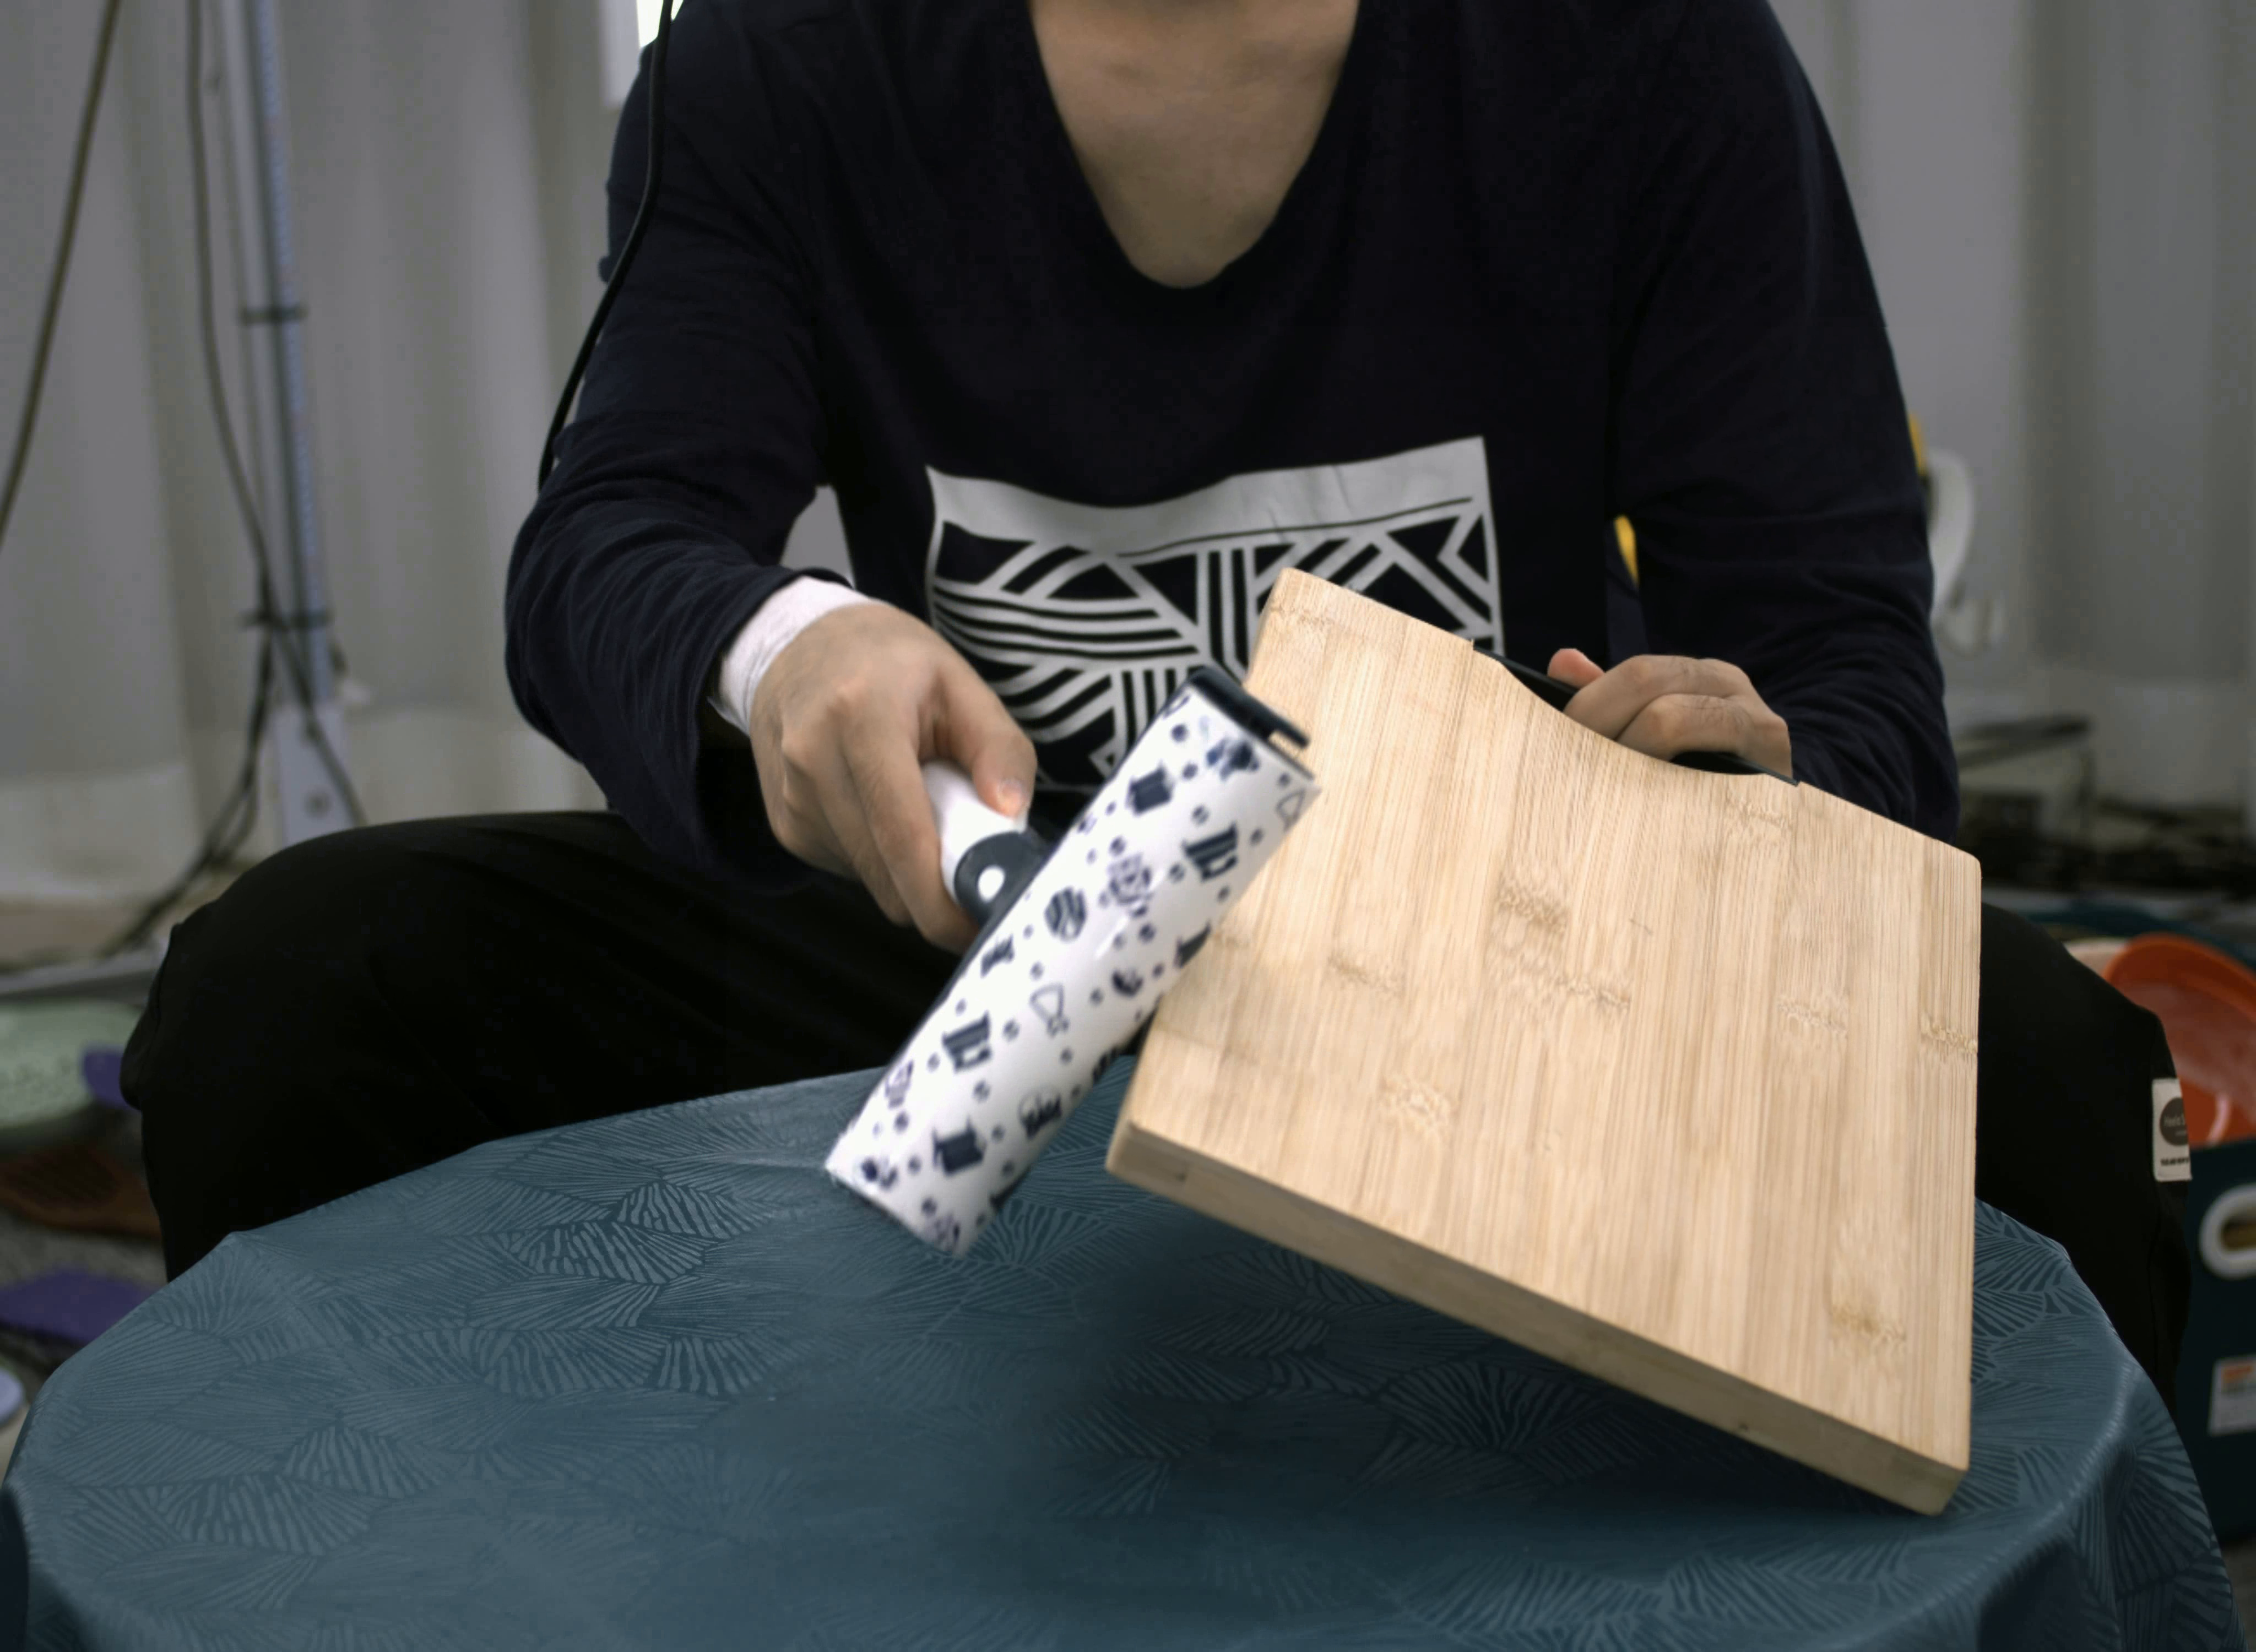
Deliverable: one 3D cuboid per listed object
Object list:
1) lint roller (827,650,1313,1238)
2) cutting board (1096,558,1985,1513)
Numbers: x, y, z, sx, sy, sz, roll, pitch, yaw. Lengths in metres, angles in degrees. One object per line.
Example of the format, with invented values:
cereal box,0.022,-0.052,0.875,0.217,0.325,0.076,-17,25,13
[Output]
lint roller,-0.041,0.010,1.564,0.050,0.176,0.249,36,2,-21
cutting board,0.130,0.048,1.573,0.250,0.023,0.352,23,29,-3
